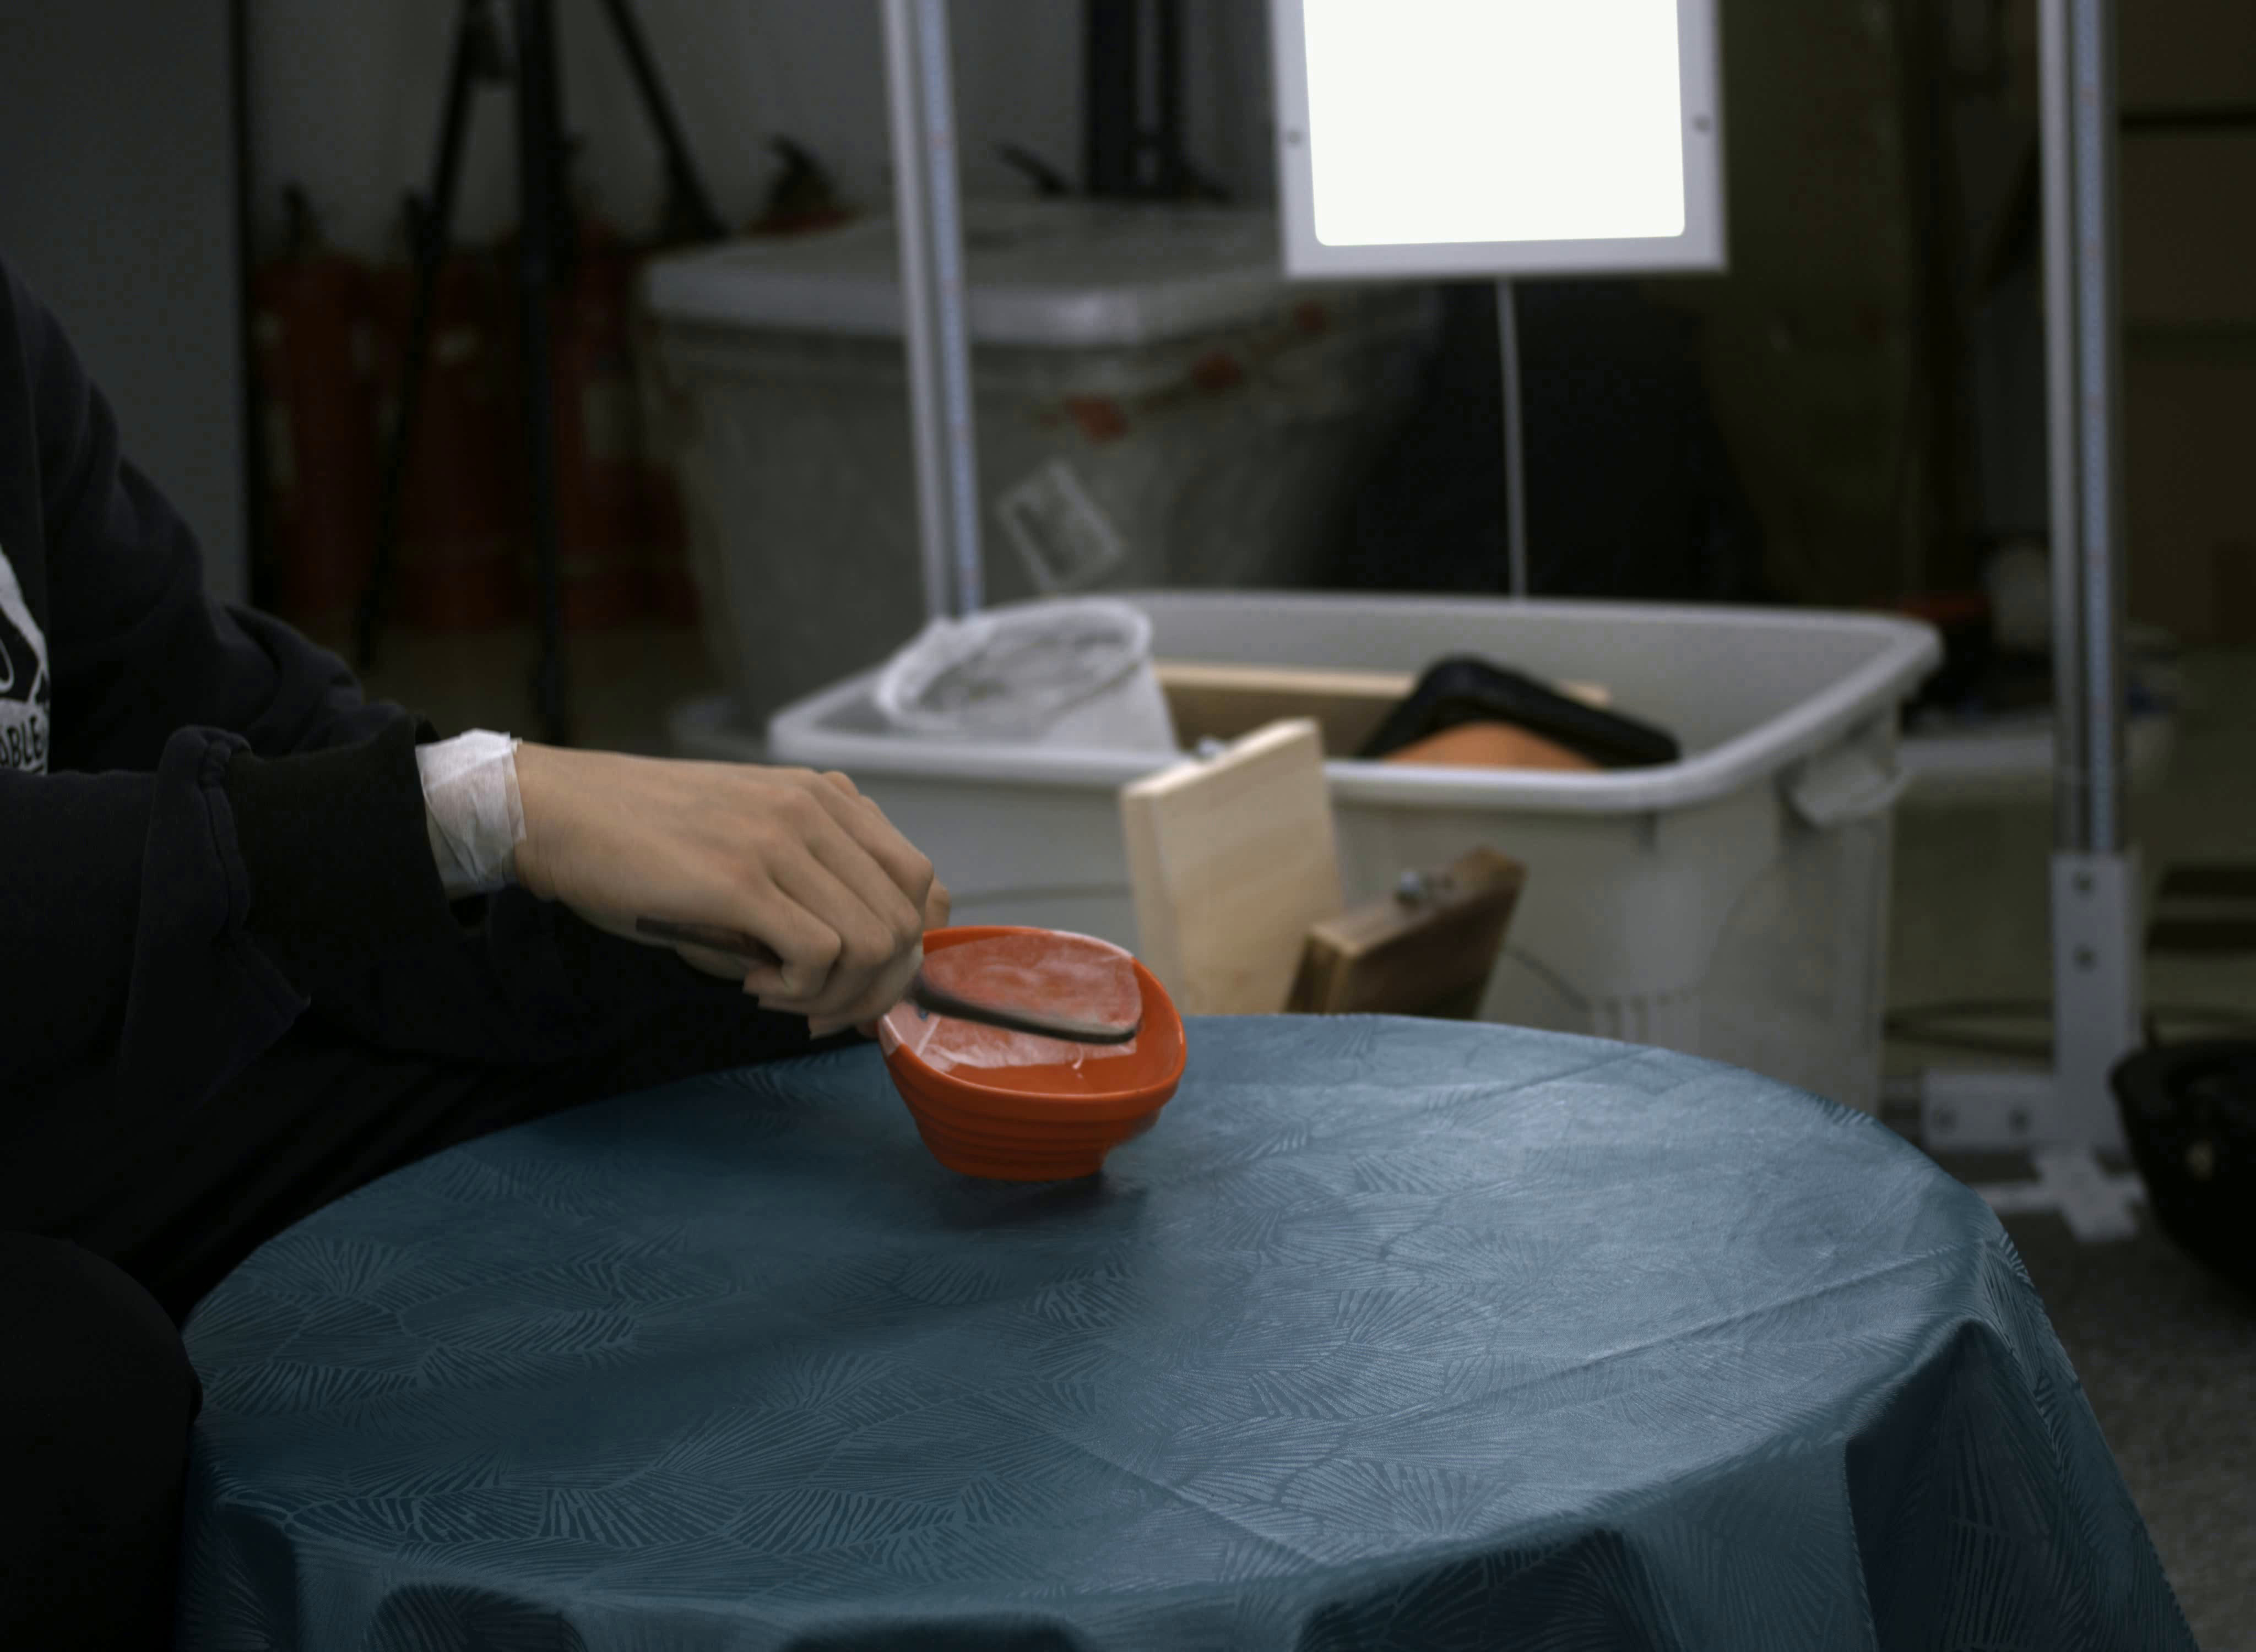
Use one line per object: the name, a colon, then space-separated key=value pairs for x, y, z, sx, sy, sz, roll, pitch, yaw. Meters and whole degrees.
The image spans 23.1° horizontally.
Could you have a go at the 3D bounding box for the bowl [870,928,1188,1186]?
bowl: x=-0.038 y=0.086 z=1.927 sx=0.118 sy=0.052 sz=0.118 roll=7 pitch=31 yaw=-5

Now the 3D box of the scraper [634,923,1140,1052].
scraper: x=-0.082 y=0.052 z=1.758 sx=0.077 sy=0.011 sz=0.206 roll=9 pitch=-5 yaw=39
